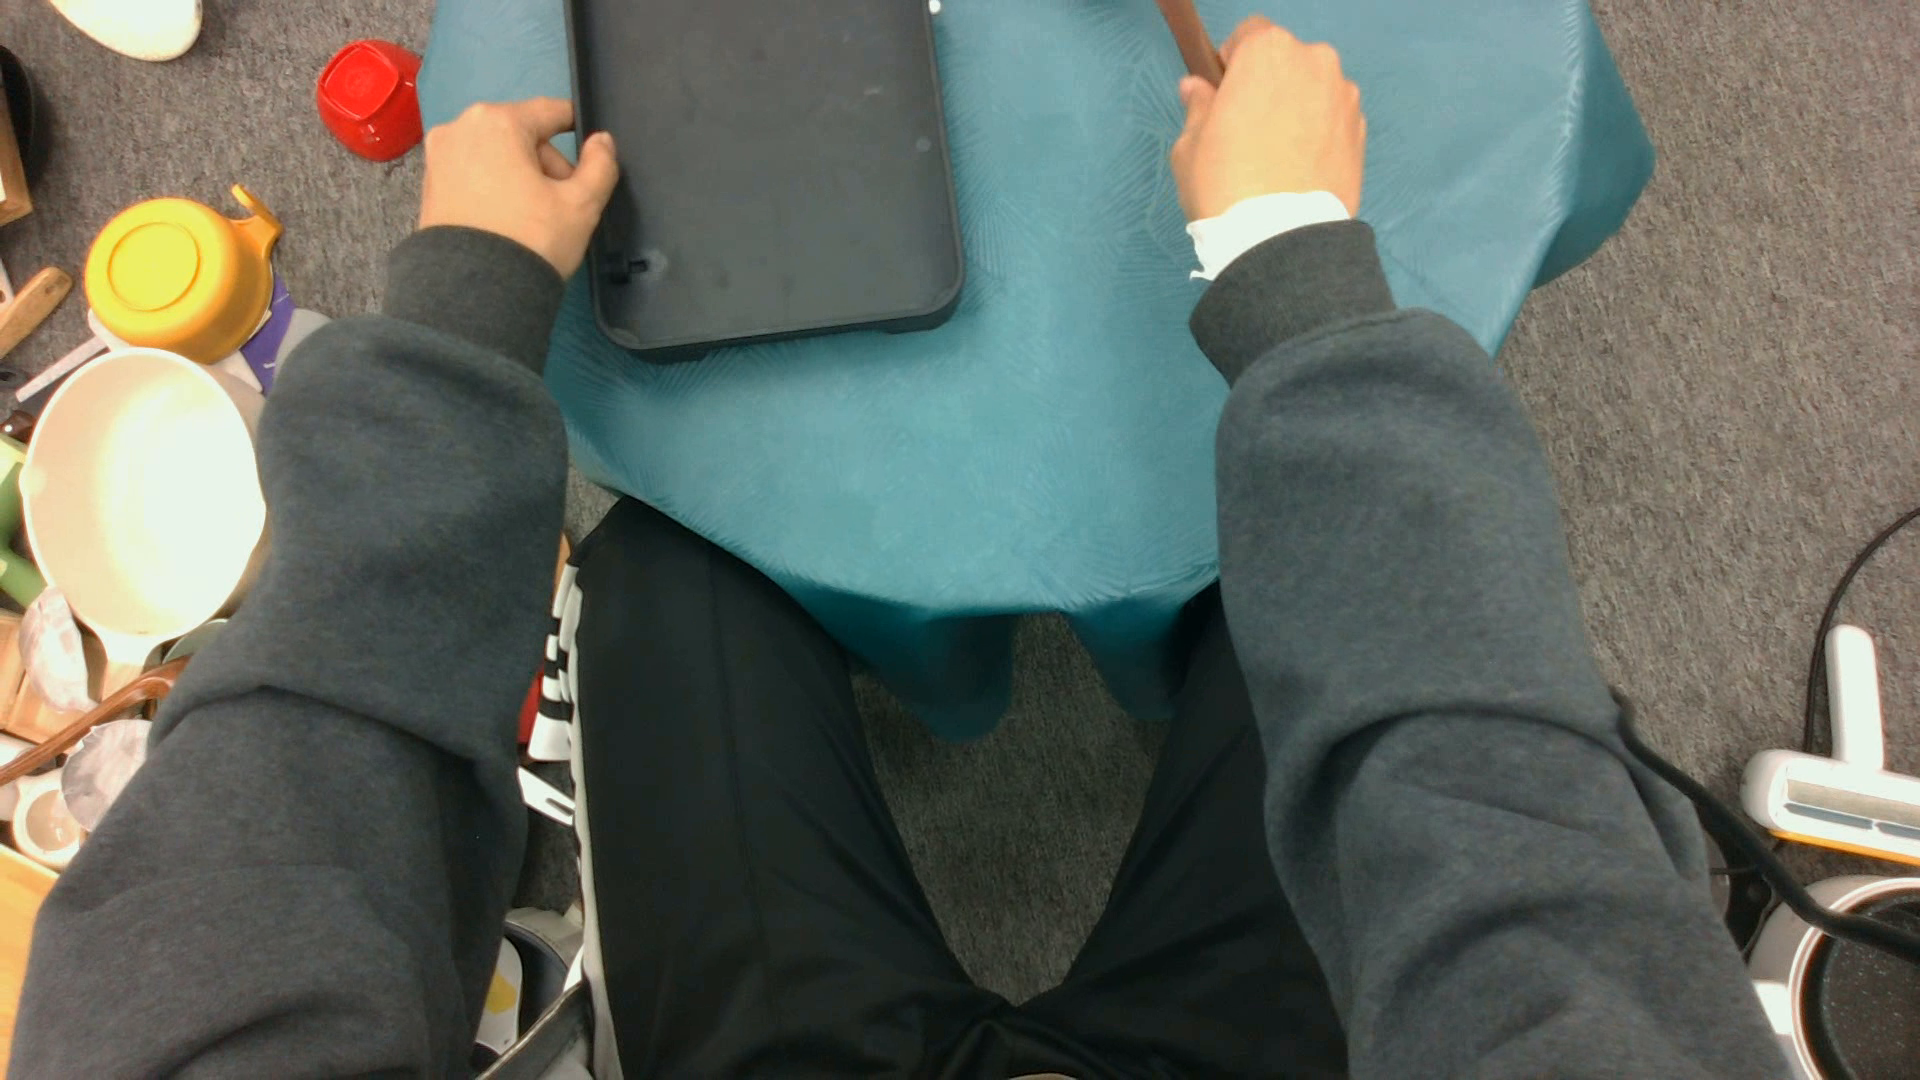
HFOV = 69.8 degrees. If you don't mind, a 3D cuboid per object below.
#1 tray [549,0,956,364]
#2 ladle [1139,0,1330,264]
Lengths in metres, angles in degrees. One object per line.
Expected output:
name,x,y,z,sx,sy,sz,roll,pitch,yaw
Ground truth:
tray,-0.112,-0.252,0.700,0.184,0.037,0.318,-8,80,-1
ladle,0.094,-0.239,0.644,0.076,0.065,0.260,-29,91,42
